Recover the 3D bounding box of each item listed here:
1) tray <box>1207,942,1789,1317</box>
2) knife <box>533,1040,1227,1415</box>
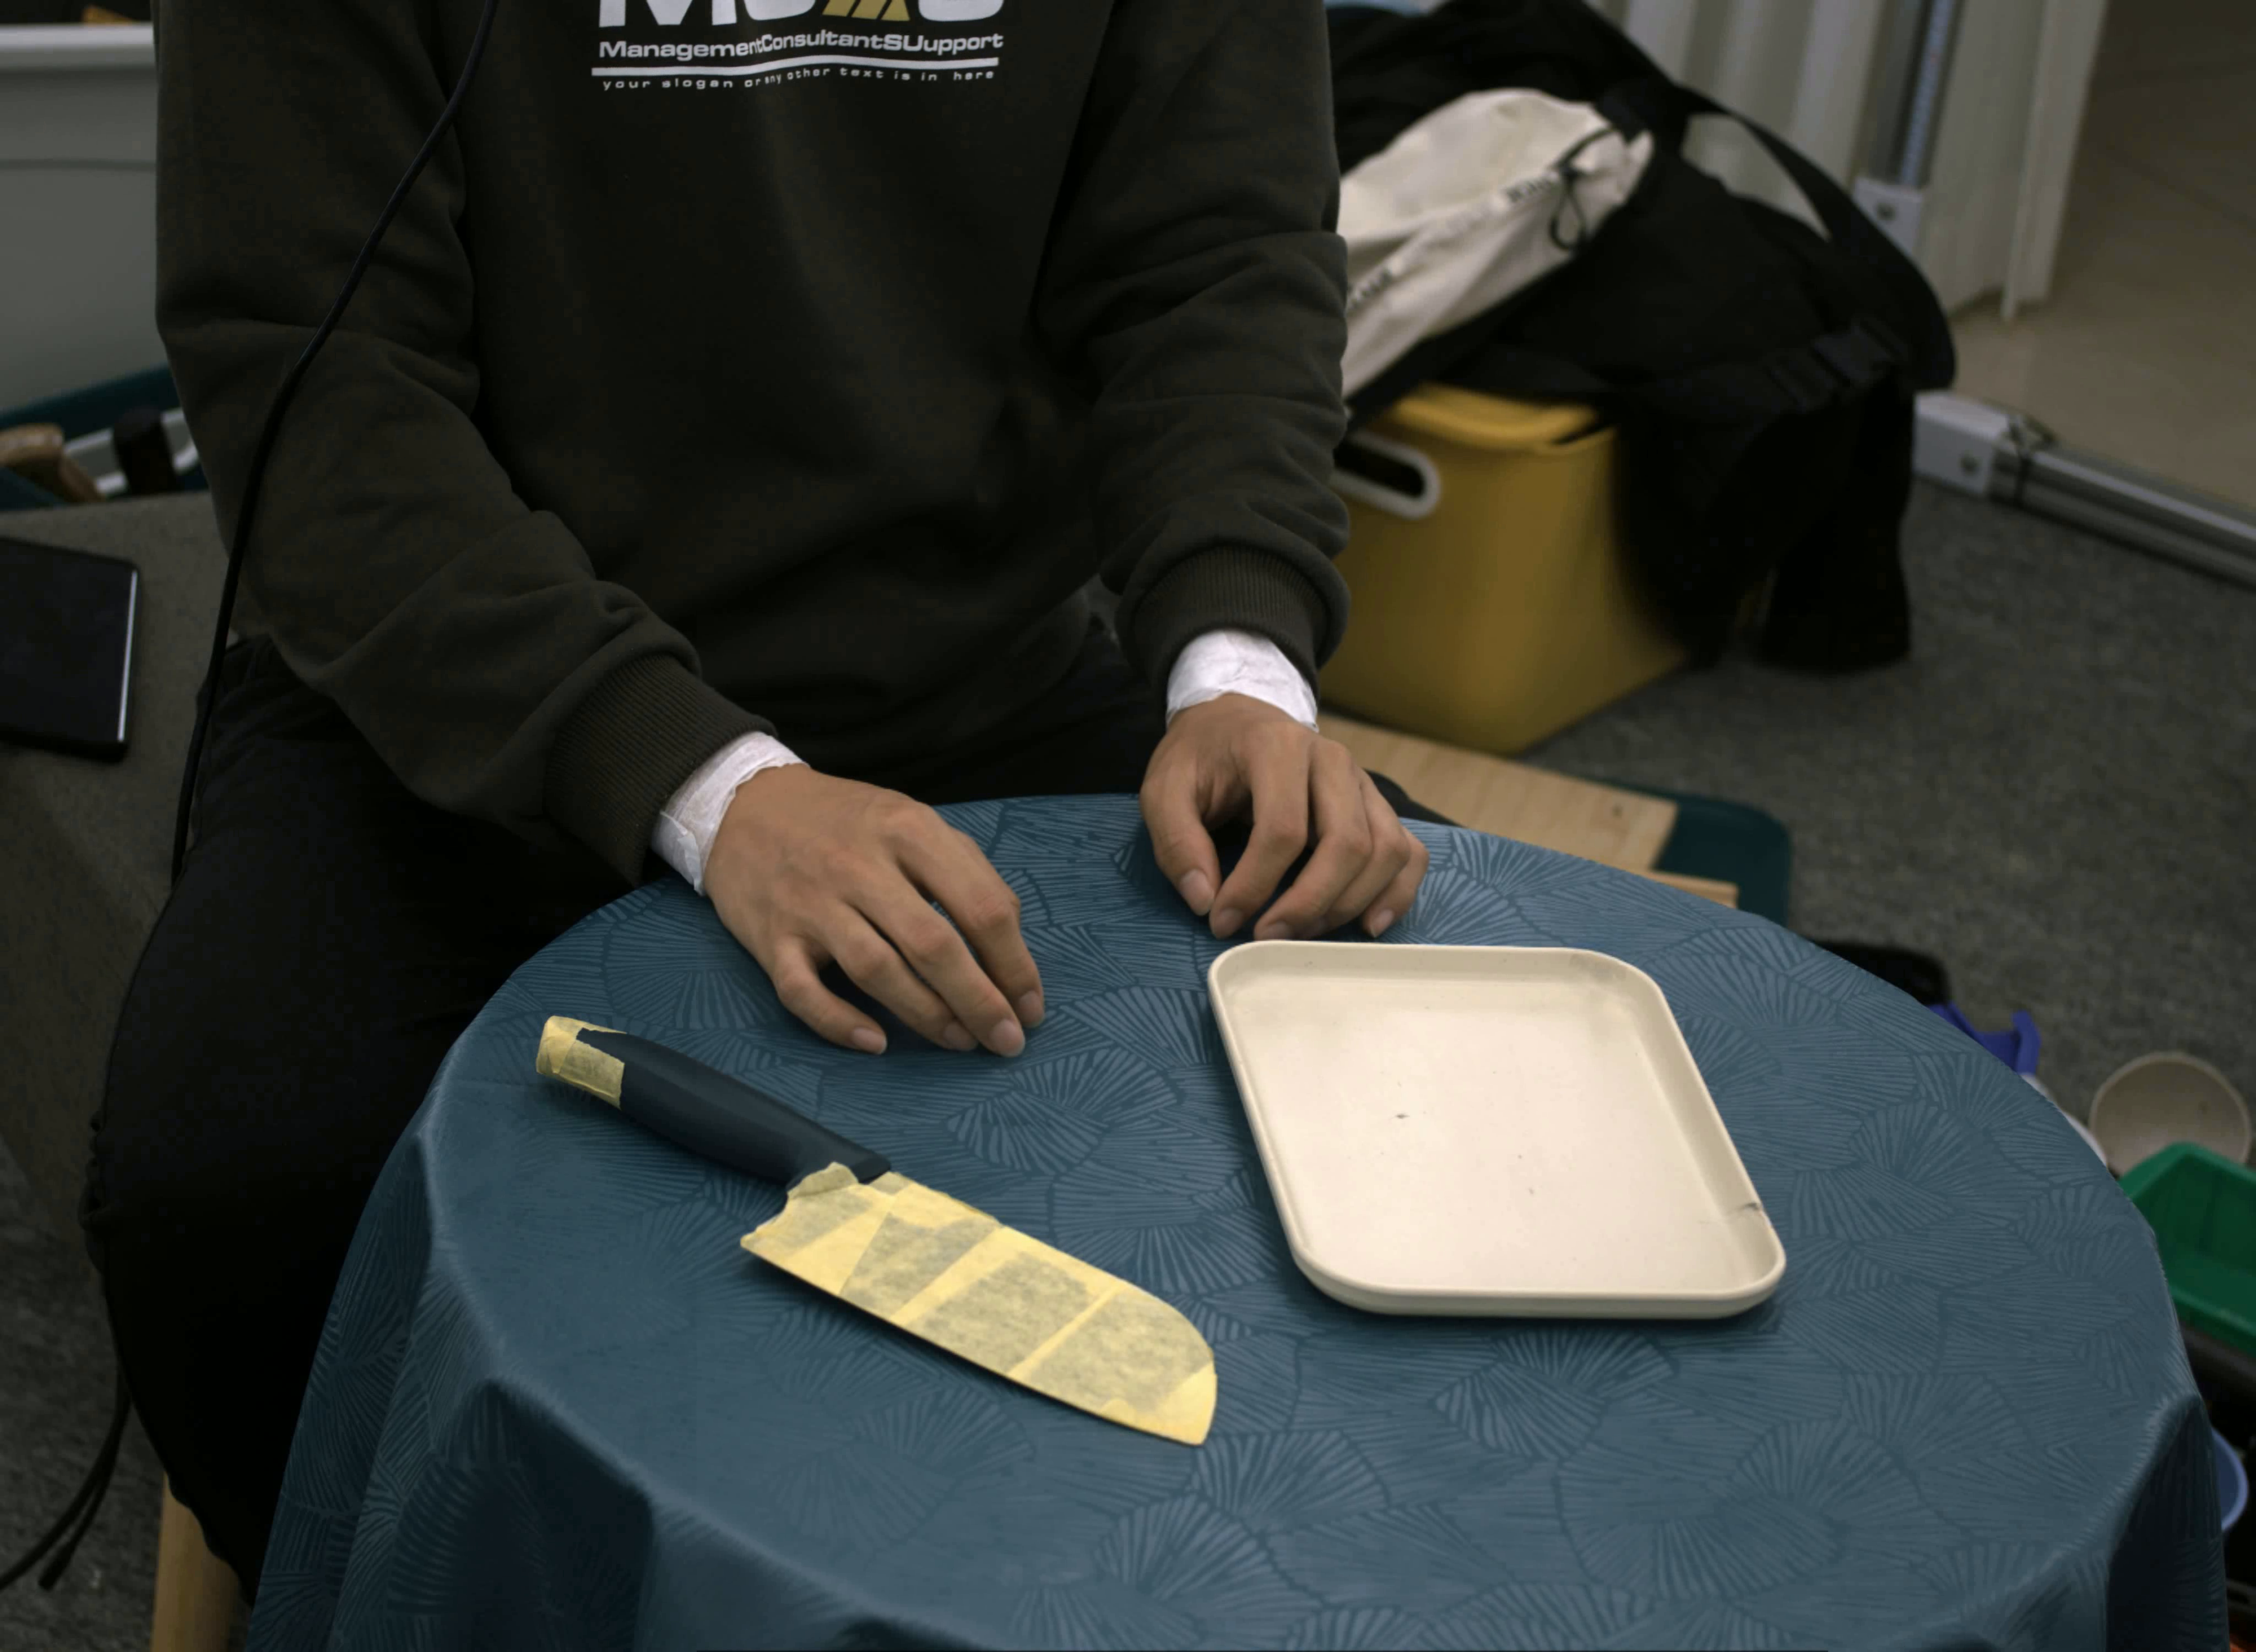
[{"bbox_3d":[0.124,0.105,1.851,0.170,0.017,0.241,1,27,-9],"label":"tray"},{"bbox_3d":[-0.089,0.133,1.750,0.291,0.027,0.081,23,29,28],"label":"knife"}]
